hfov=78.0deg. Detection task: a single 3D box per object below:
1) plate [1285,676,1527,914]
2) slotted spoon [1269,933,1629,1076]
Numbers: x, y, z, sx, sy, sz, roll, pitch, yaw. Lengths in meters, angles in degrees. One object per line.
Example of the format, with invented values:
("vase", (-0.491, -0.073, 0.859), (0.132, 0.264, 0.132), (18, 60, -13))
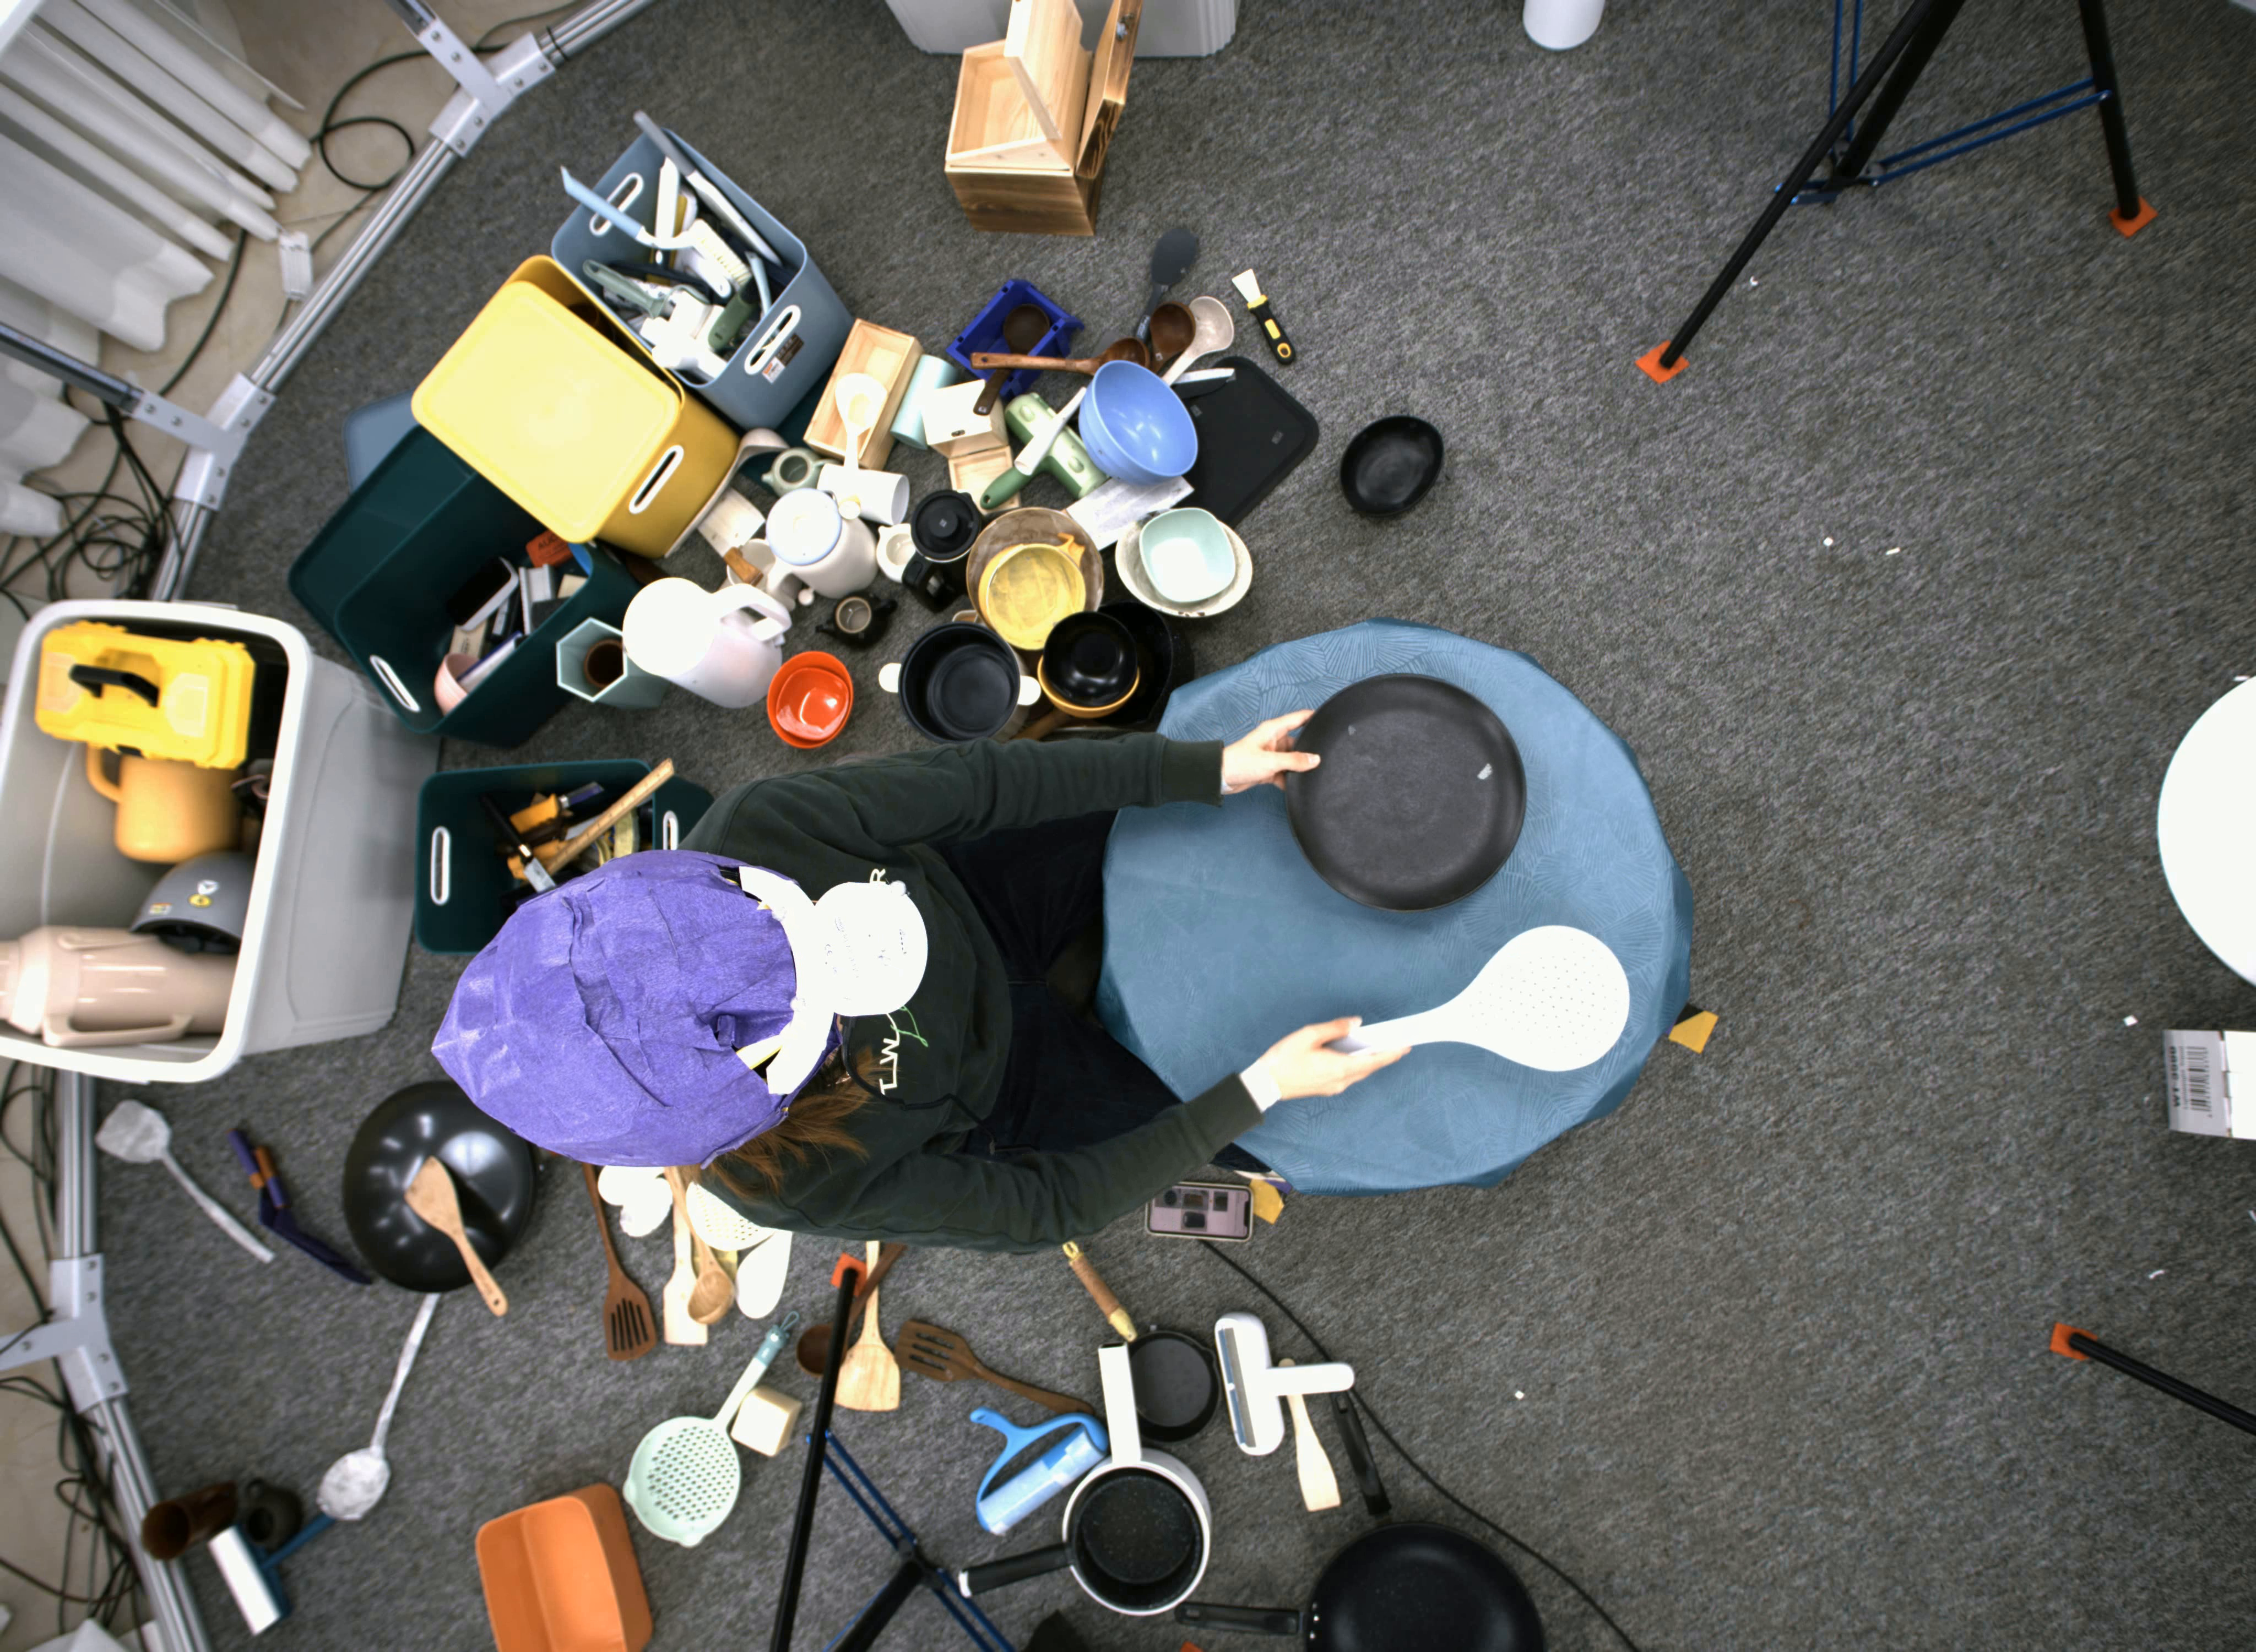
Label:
("plate", (0.280, -0.033, 1.395), (0.245, 0.023, 0.243), (0, 86, 4))
("slotted spoon", (0.311, 0.196, 1.353), (0.351, 0.046, 0.135), (-13, 84, 6))
